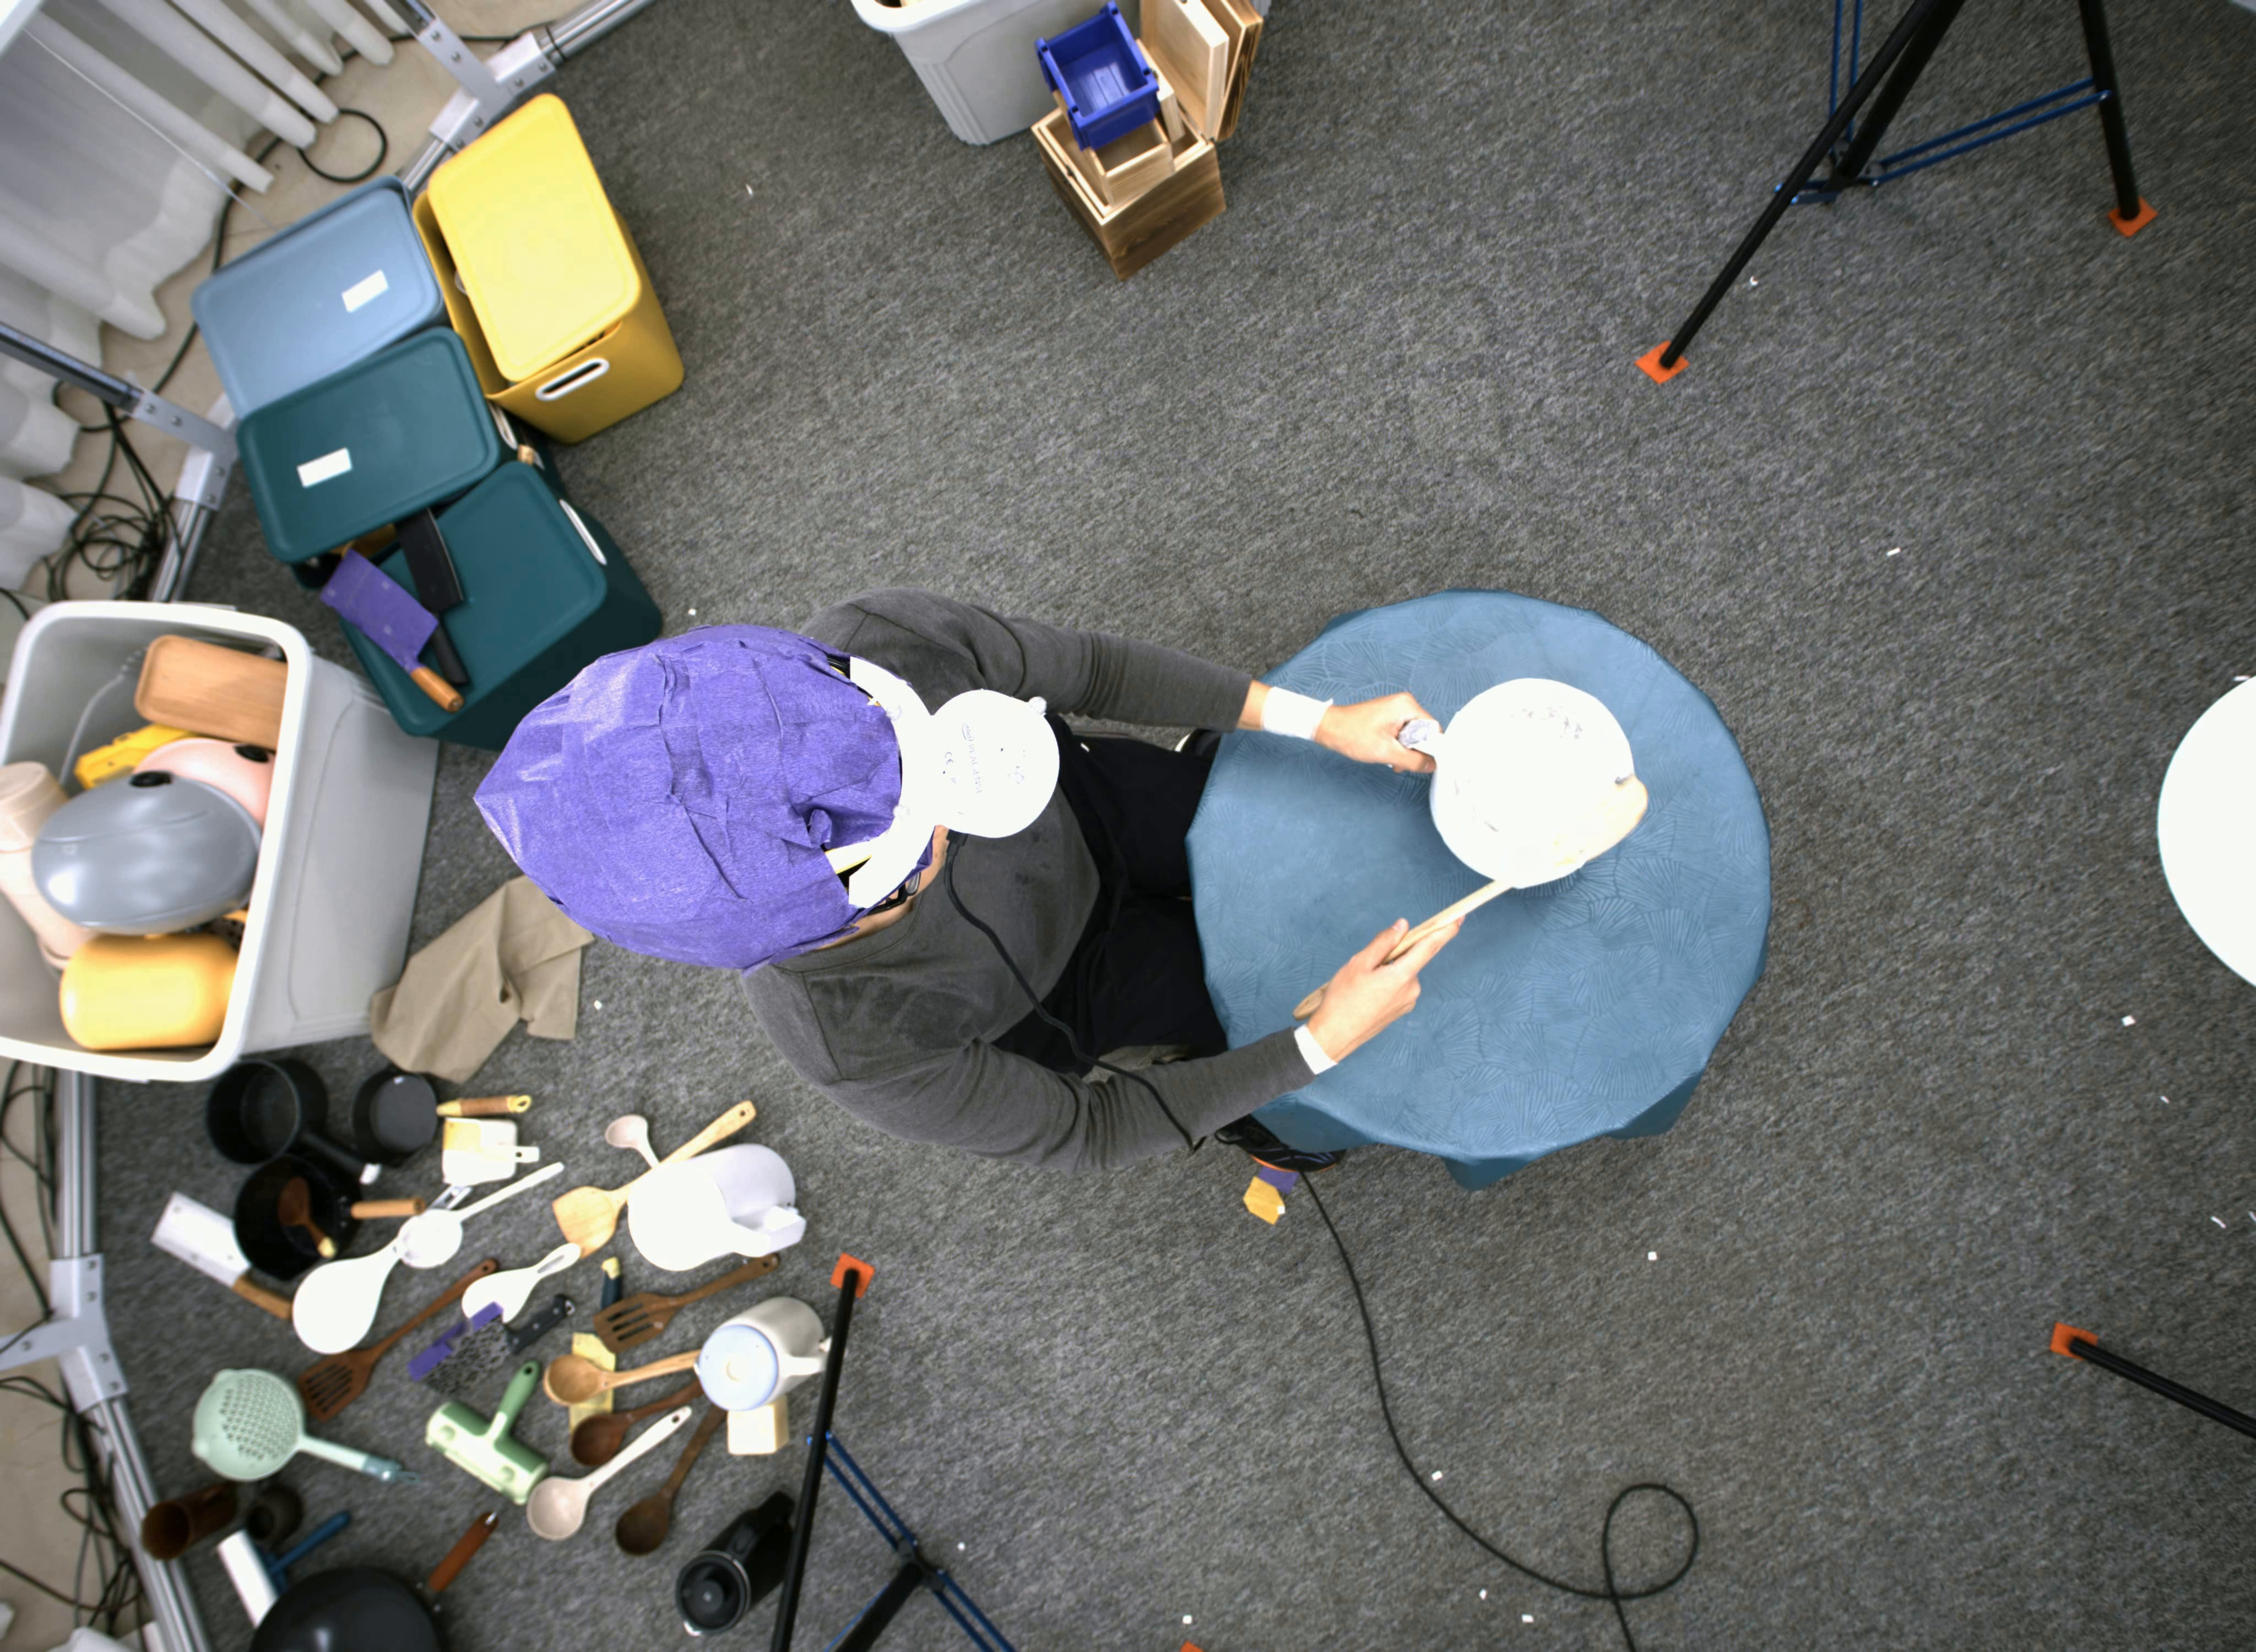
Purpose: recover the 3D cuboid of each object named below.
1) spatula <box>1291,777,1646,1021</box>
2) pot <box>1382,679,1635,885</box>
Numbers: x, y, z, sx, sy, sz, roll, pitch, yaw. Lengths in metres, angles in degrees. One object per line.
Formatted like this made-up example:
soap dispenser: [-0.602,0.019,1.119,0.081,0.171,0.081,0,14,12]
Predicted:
spatula: [0.303,0.075,1.260,0.397,0.094,0.018,-36,102,23]
pot: [0.359,-0.049,1.330,0.233,0.138,0.177,22,82,13]
